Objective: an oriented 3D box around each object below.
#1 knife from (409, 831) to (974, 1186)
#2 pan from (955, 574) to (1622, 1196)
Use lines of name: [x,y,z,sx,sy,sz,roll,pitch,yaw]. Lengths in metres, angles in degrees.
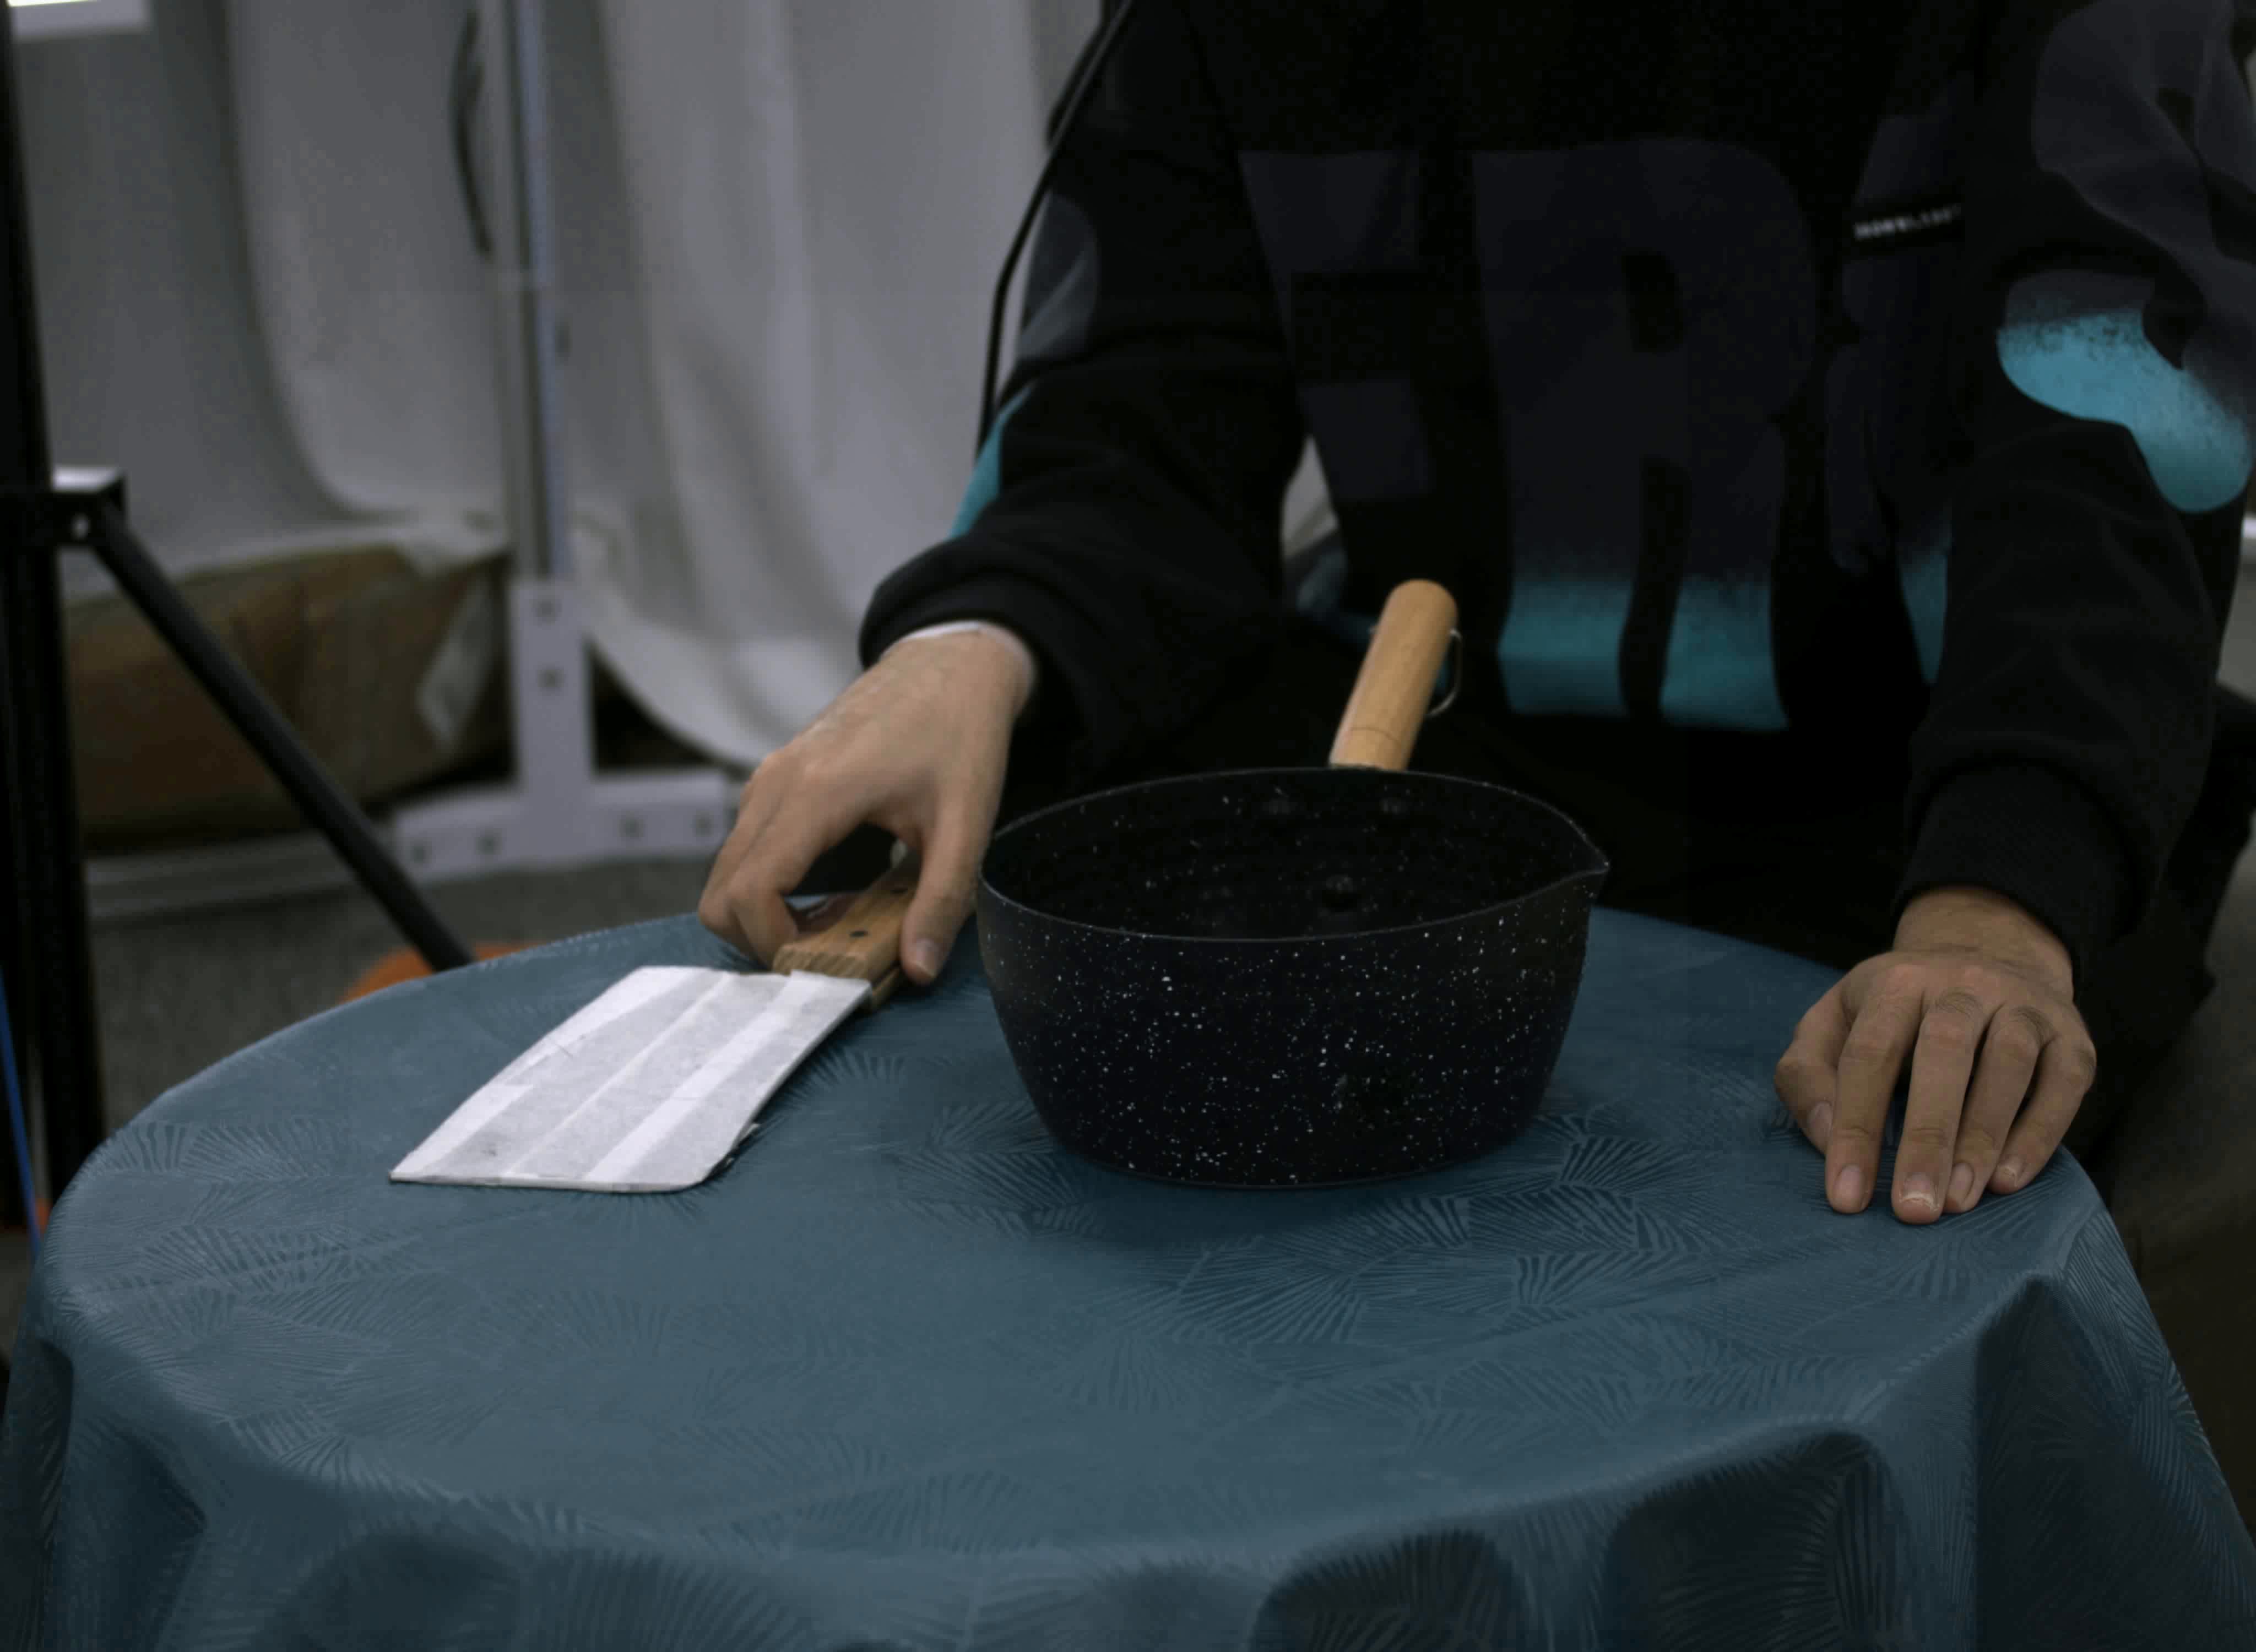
knife: [-0.122,0.059,1.717,0.115,0.022,0.311,4,20,23]
pan: [0.062,0.014,1.679,0.208,0.108,0.341,0,17,12]
